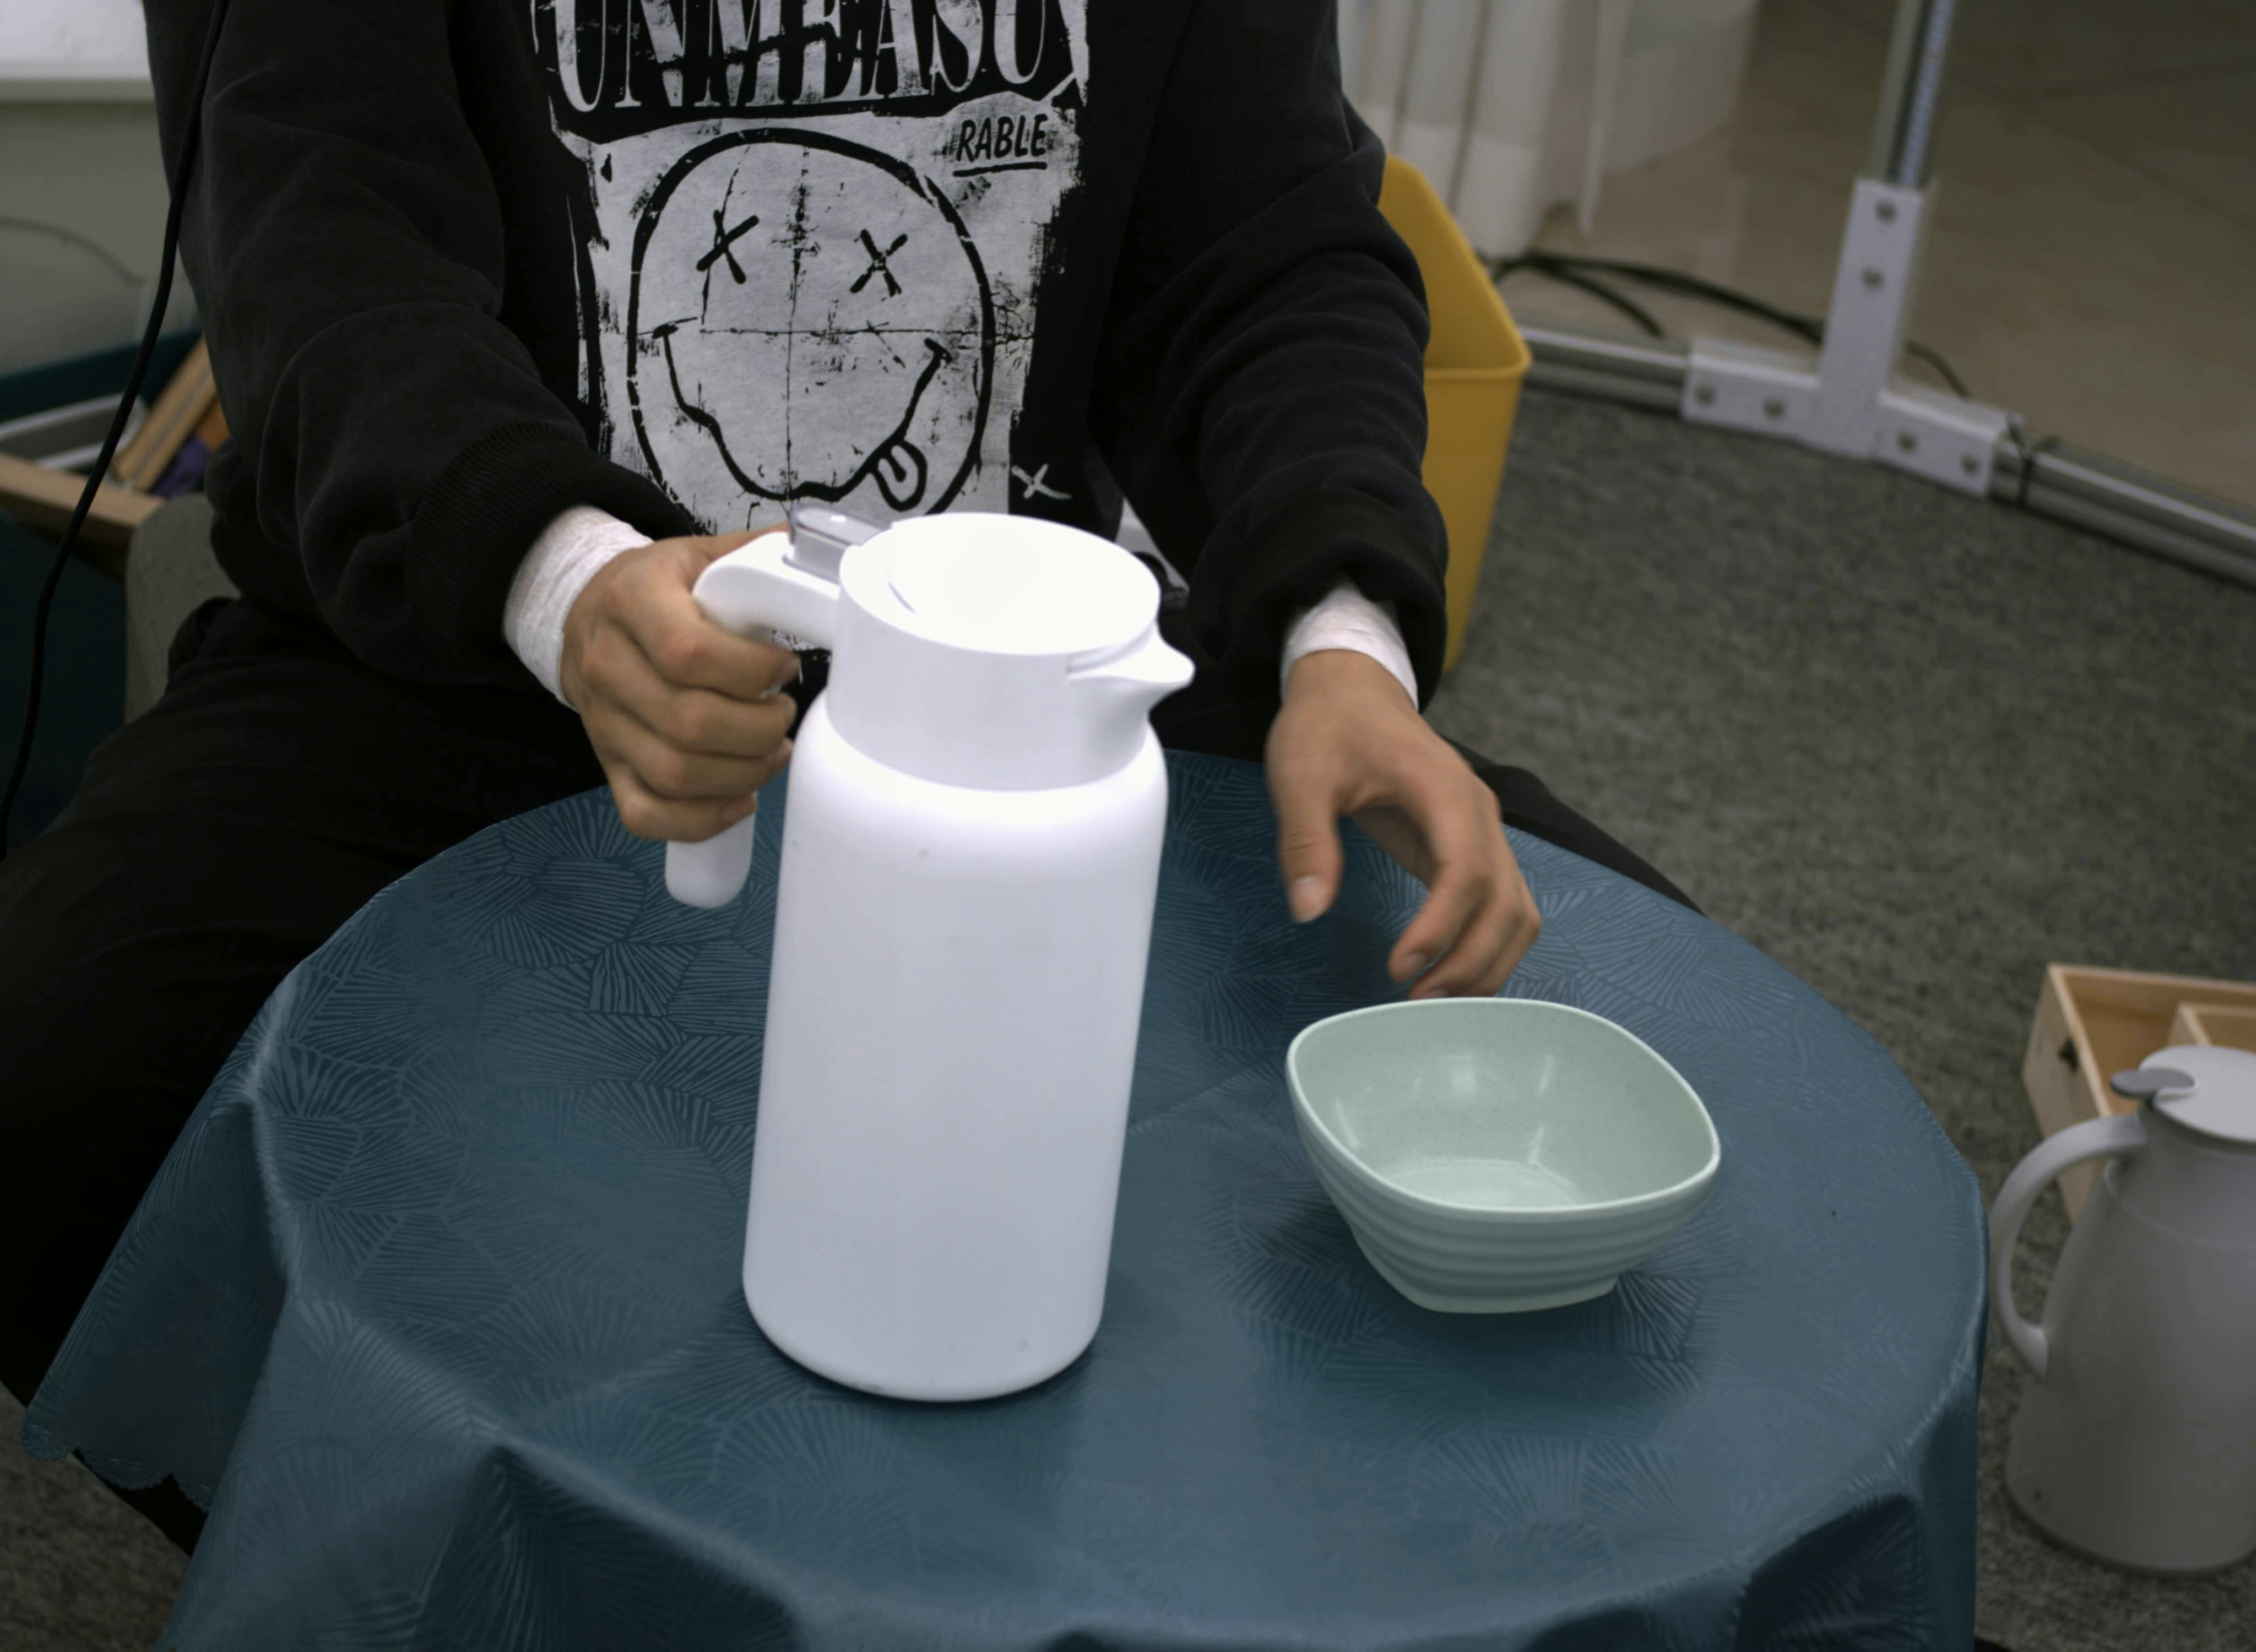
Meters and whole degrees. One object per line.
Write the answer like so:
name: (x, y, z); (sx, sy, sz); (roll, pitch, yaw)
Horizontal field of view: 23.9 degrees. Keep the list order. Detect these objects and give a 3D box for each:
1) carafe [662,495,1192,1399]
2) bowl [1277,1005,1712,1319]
carafe: (-0.070, 0.035, 1.670); (0.173, 0.268, 0.123); (20, 31, 24)
bowl: (0.119, 0.119, 1.784); (0.151, 0.058, 0.152); (5, 26, -3)
